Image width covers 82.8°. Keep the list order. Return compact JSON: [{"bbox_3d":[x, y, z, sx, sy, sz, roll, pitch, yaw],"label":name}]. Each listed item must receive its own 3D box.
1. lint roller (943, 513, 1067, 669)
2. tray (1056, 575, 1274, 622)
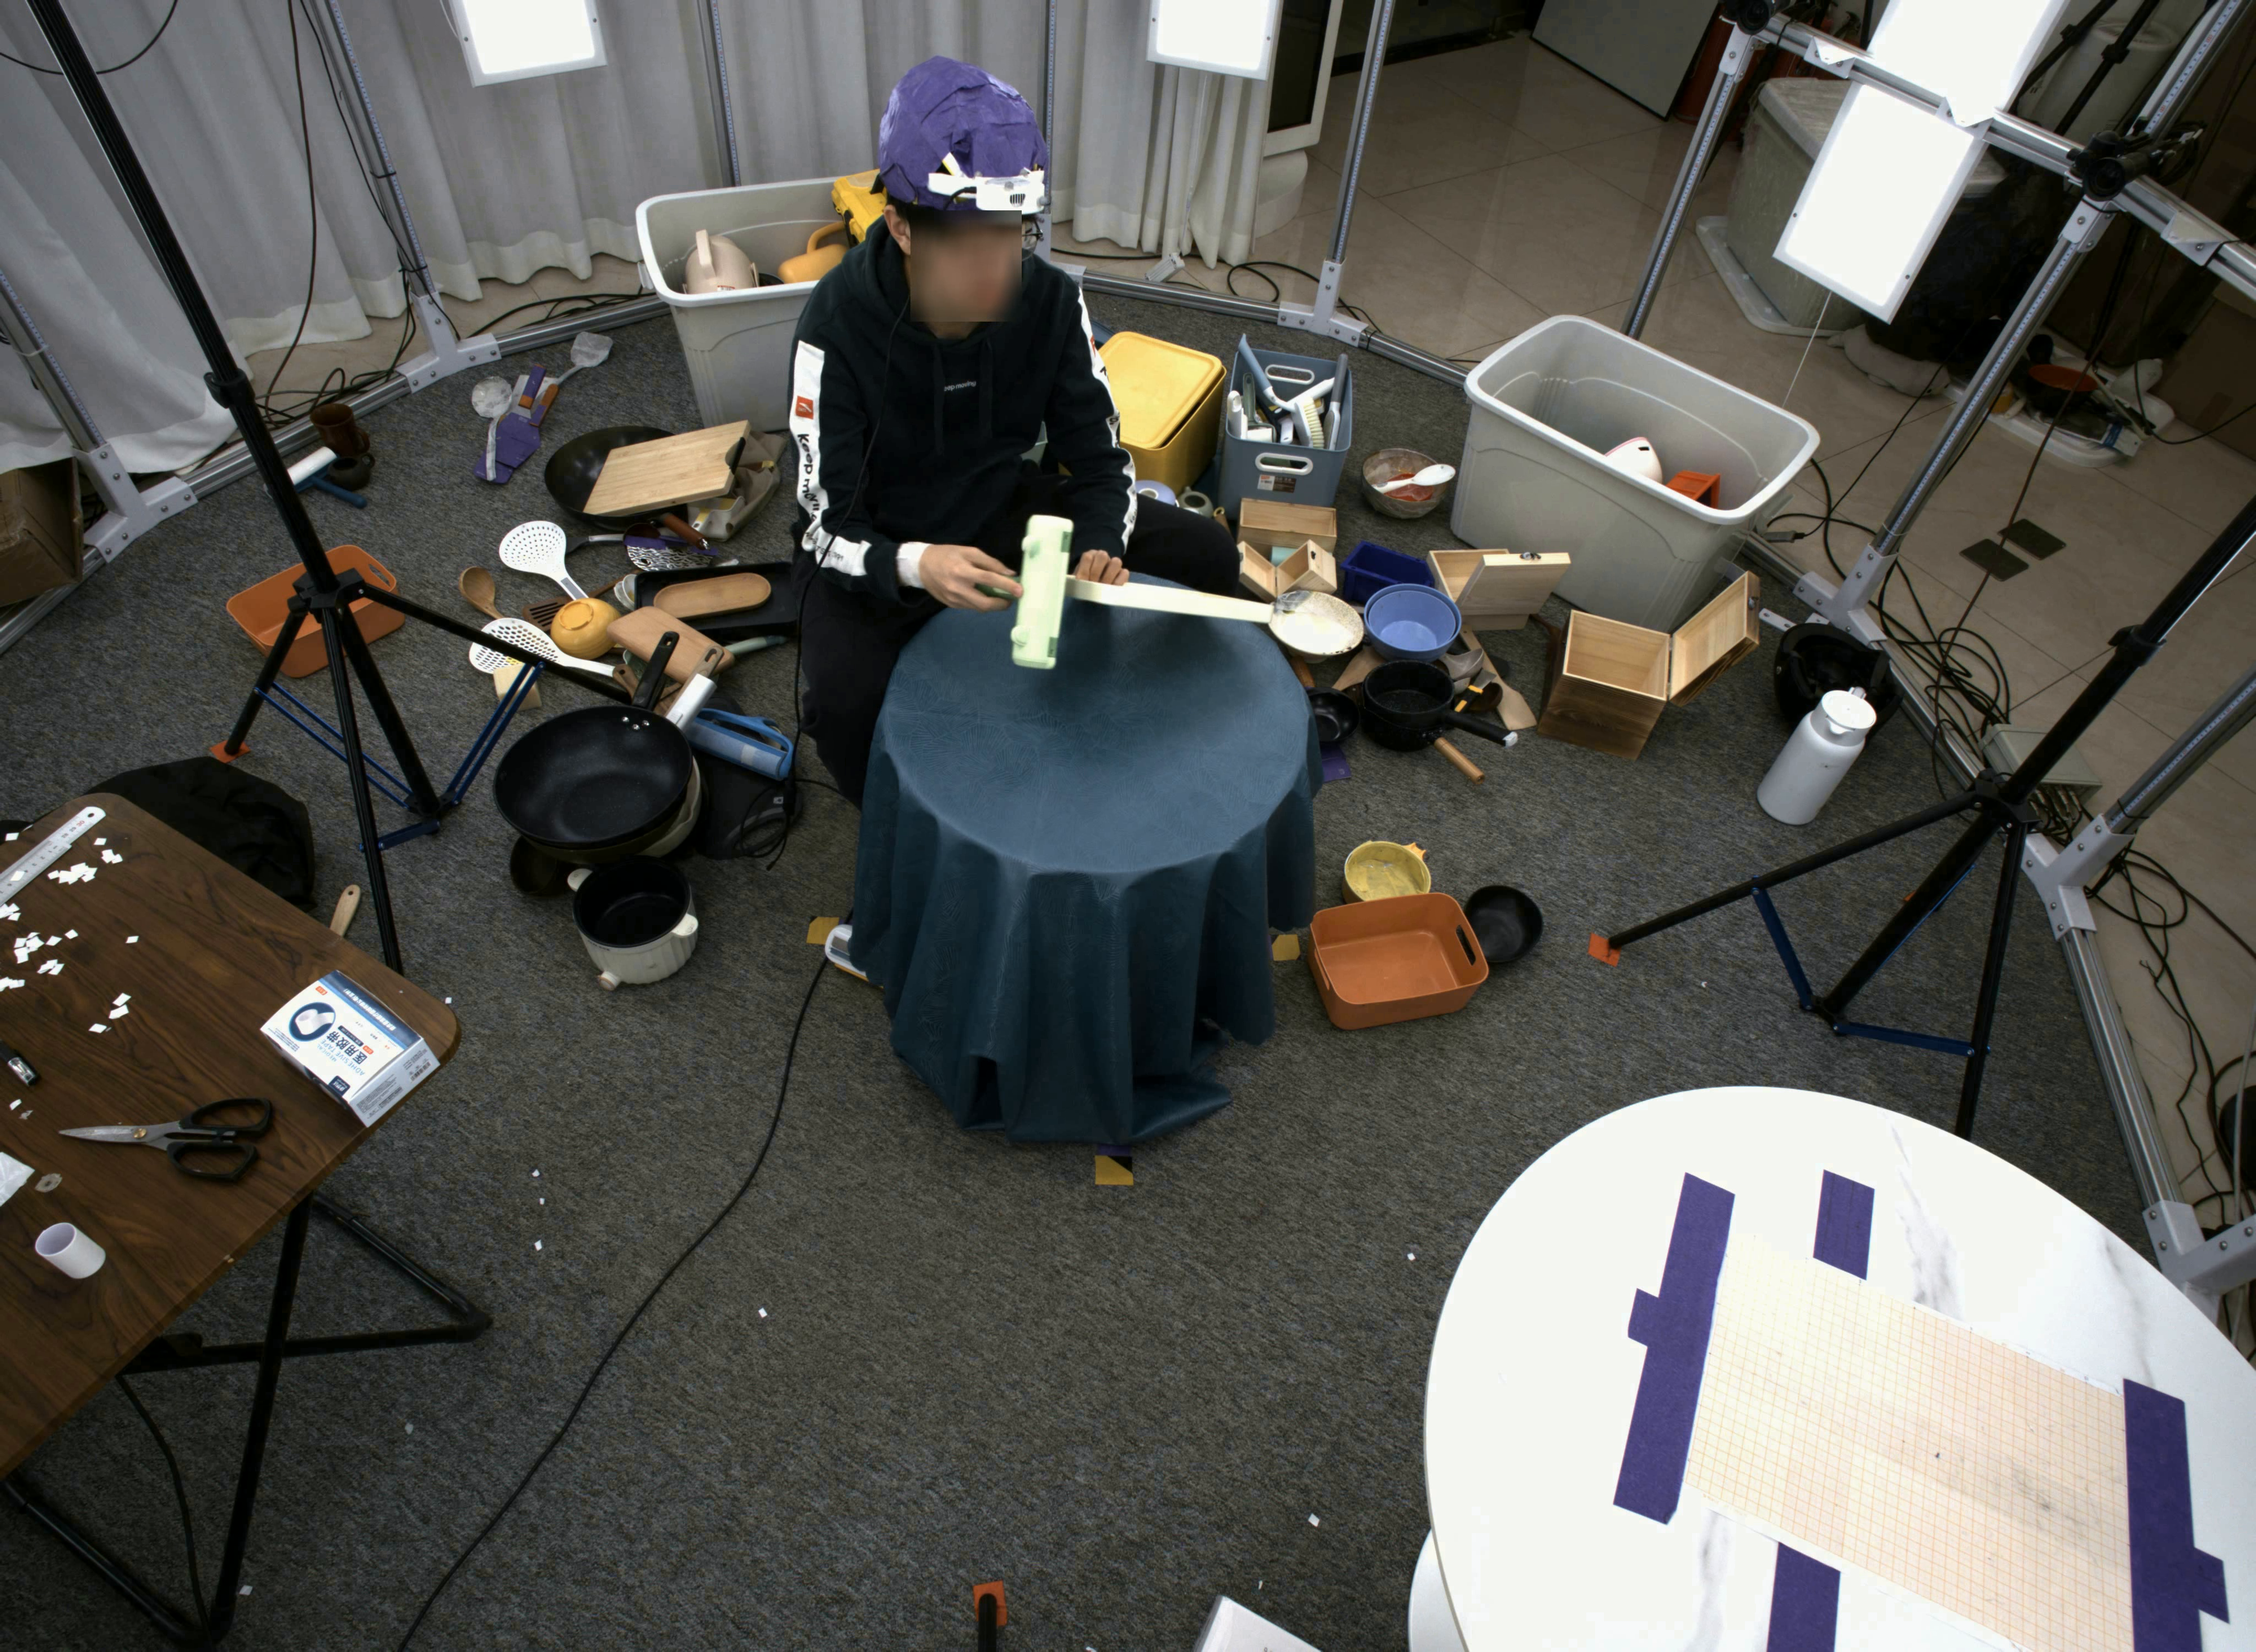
[{"bbox_3d":[-0.174,-0.314,1.689,0.184,0.197,0.082,10,9,18],"label":"lint roller"},{"bbox_3d":[0.038,-0.321,1.809,0.299,0.027,0.194,0,14,-36],"label":"tray"}]
